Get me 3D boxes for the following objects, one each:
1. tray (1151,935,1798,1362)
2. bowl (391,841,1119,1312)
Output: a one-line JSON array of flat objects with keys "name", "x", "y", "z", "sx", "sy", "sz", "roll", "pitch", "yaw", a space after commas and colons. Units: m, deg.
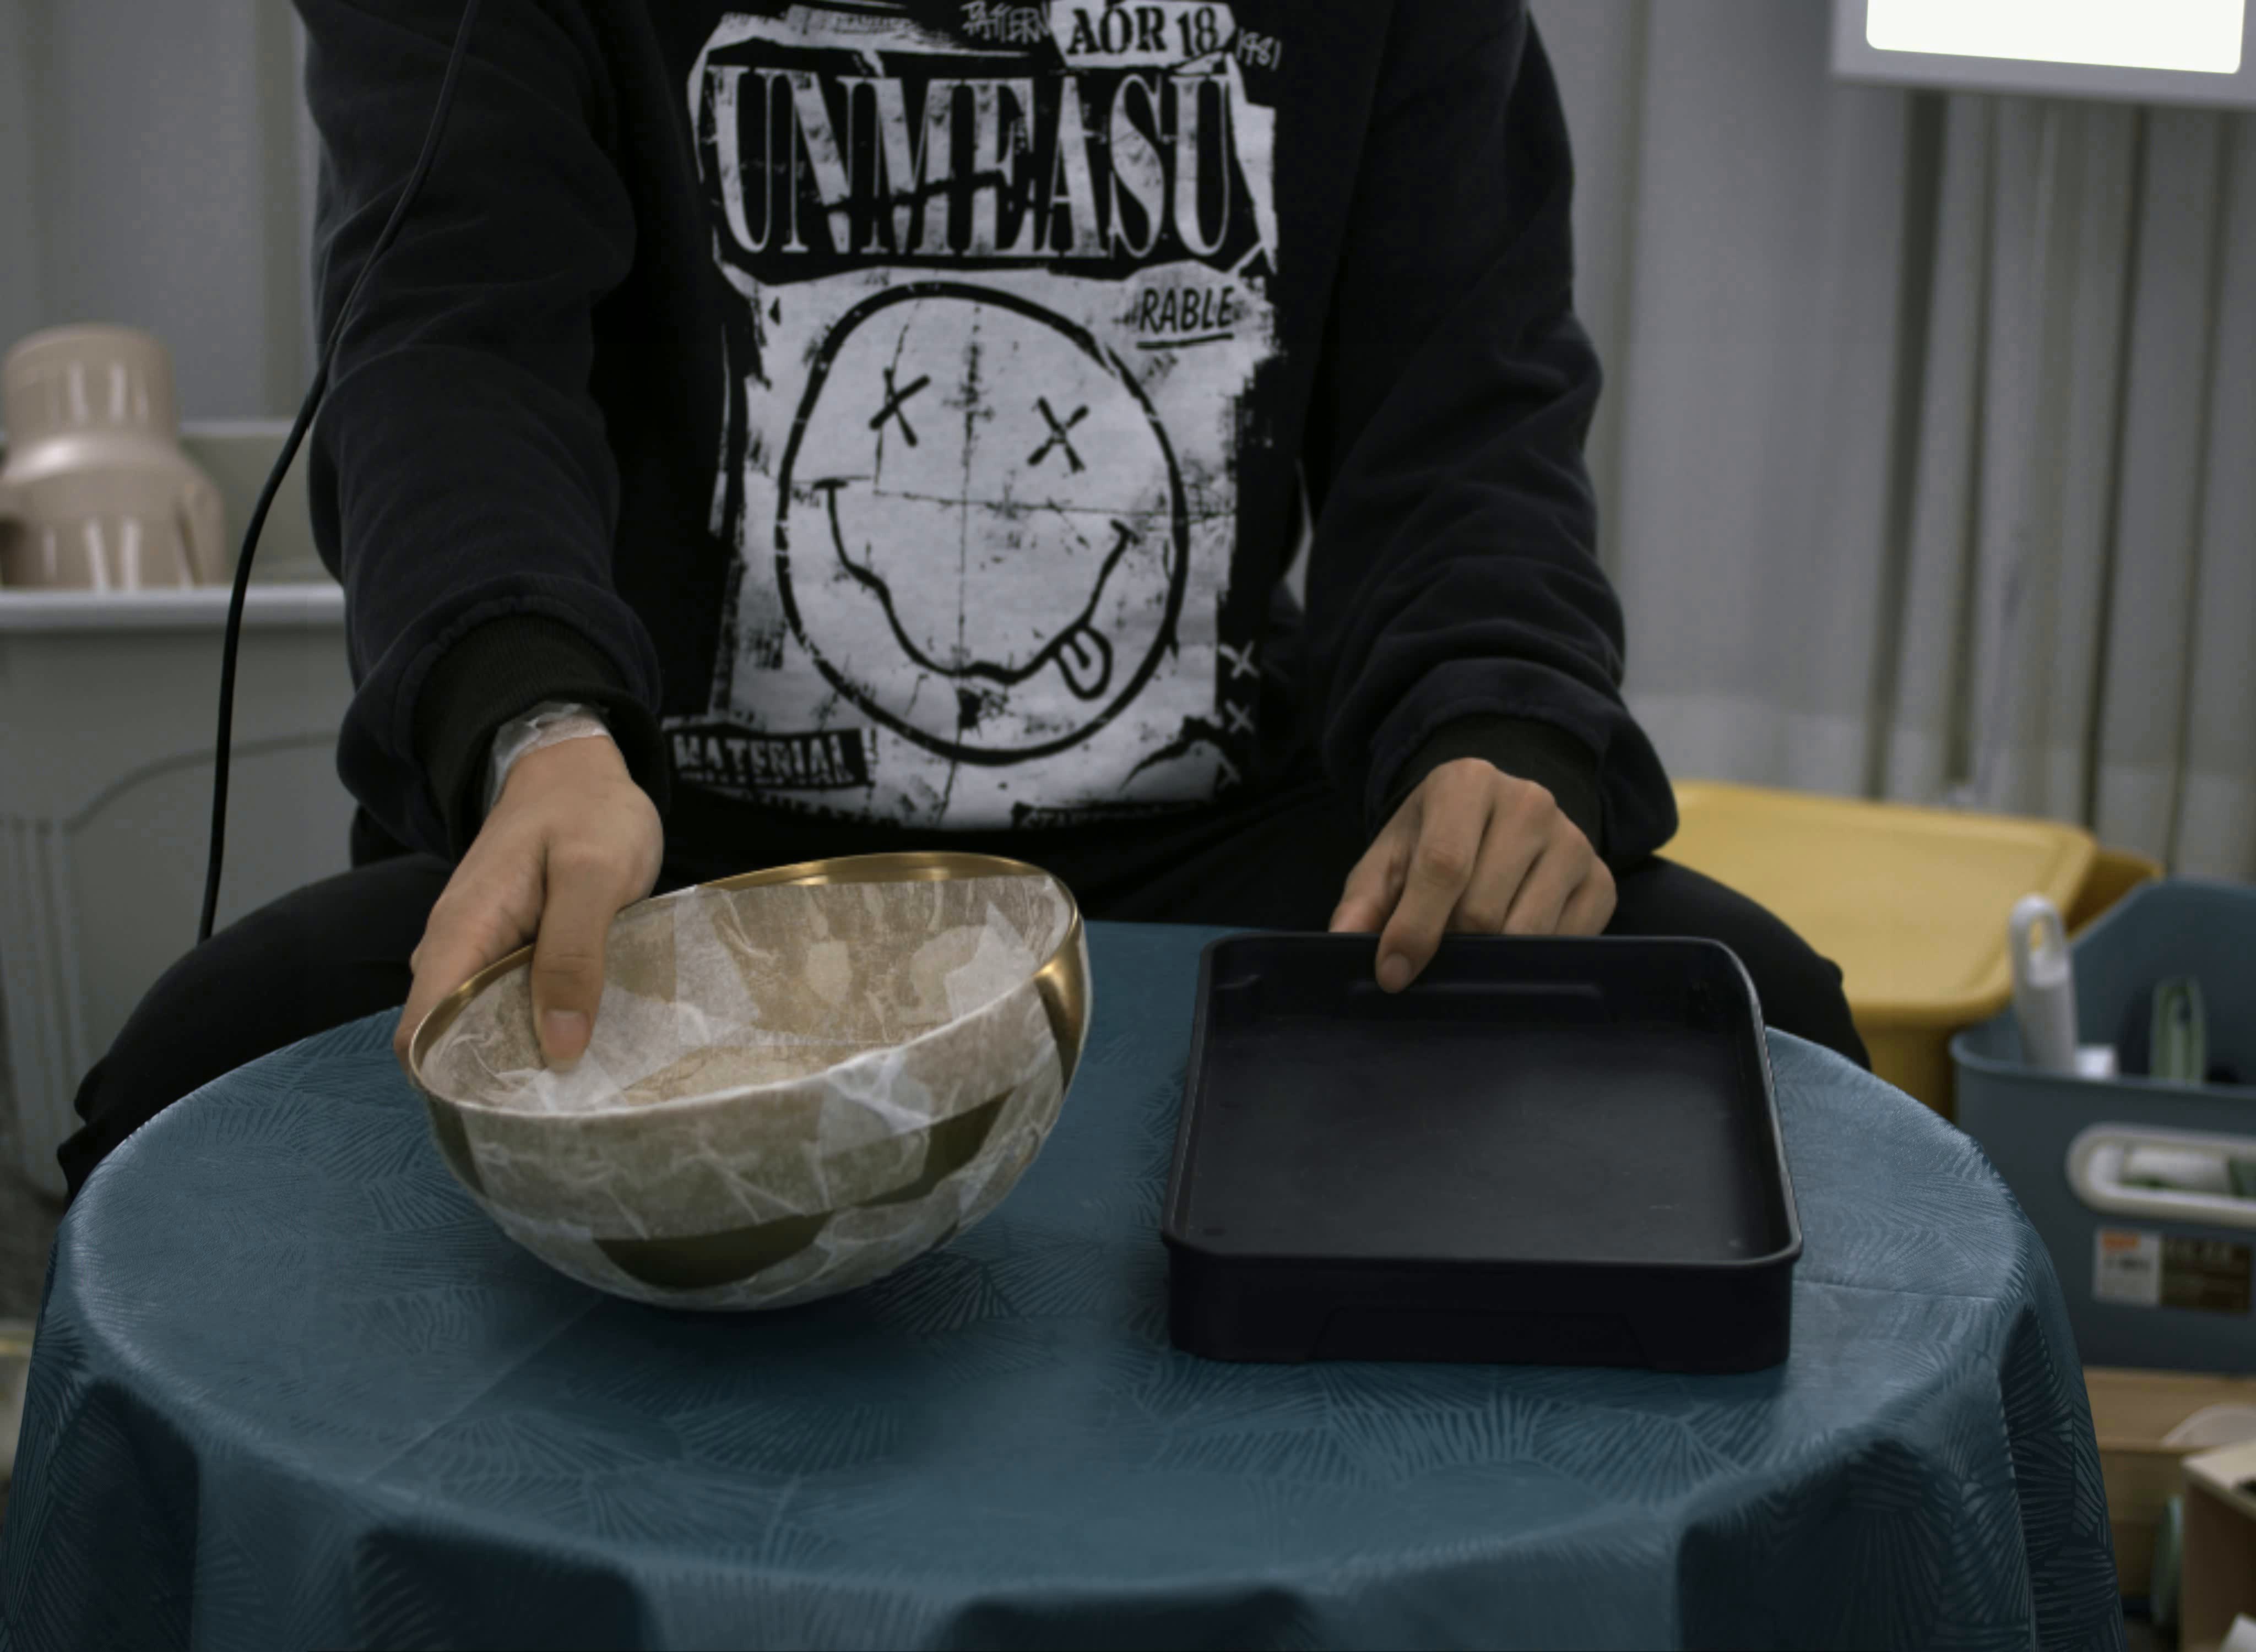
[{"name": "tray", "x": 0.108, "y": 0.094, "z": 1.626, "sx": 0.183, "sy": 0.037, "sz": 0.317, "roll": 1, "pitch": 15, "yaw": 4}, {"name": "bowl", "x": -0.100, "y": 0.082, "z": 1.530, "sx": 0.214, "sy": 0.095, "sz": 0.213, "roll": -11, "pitch": 18, "yaw": 4}]
